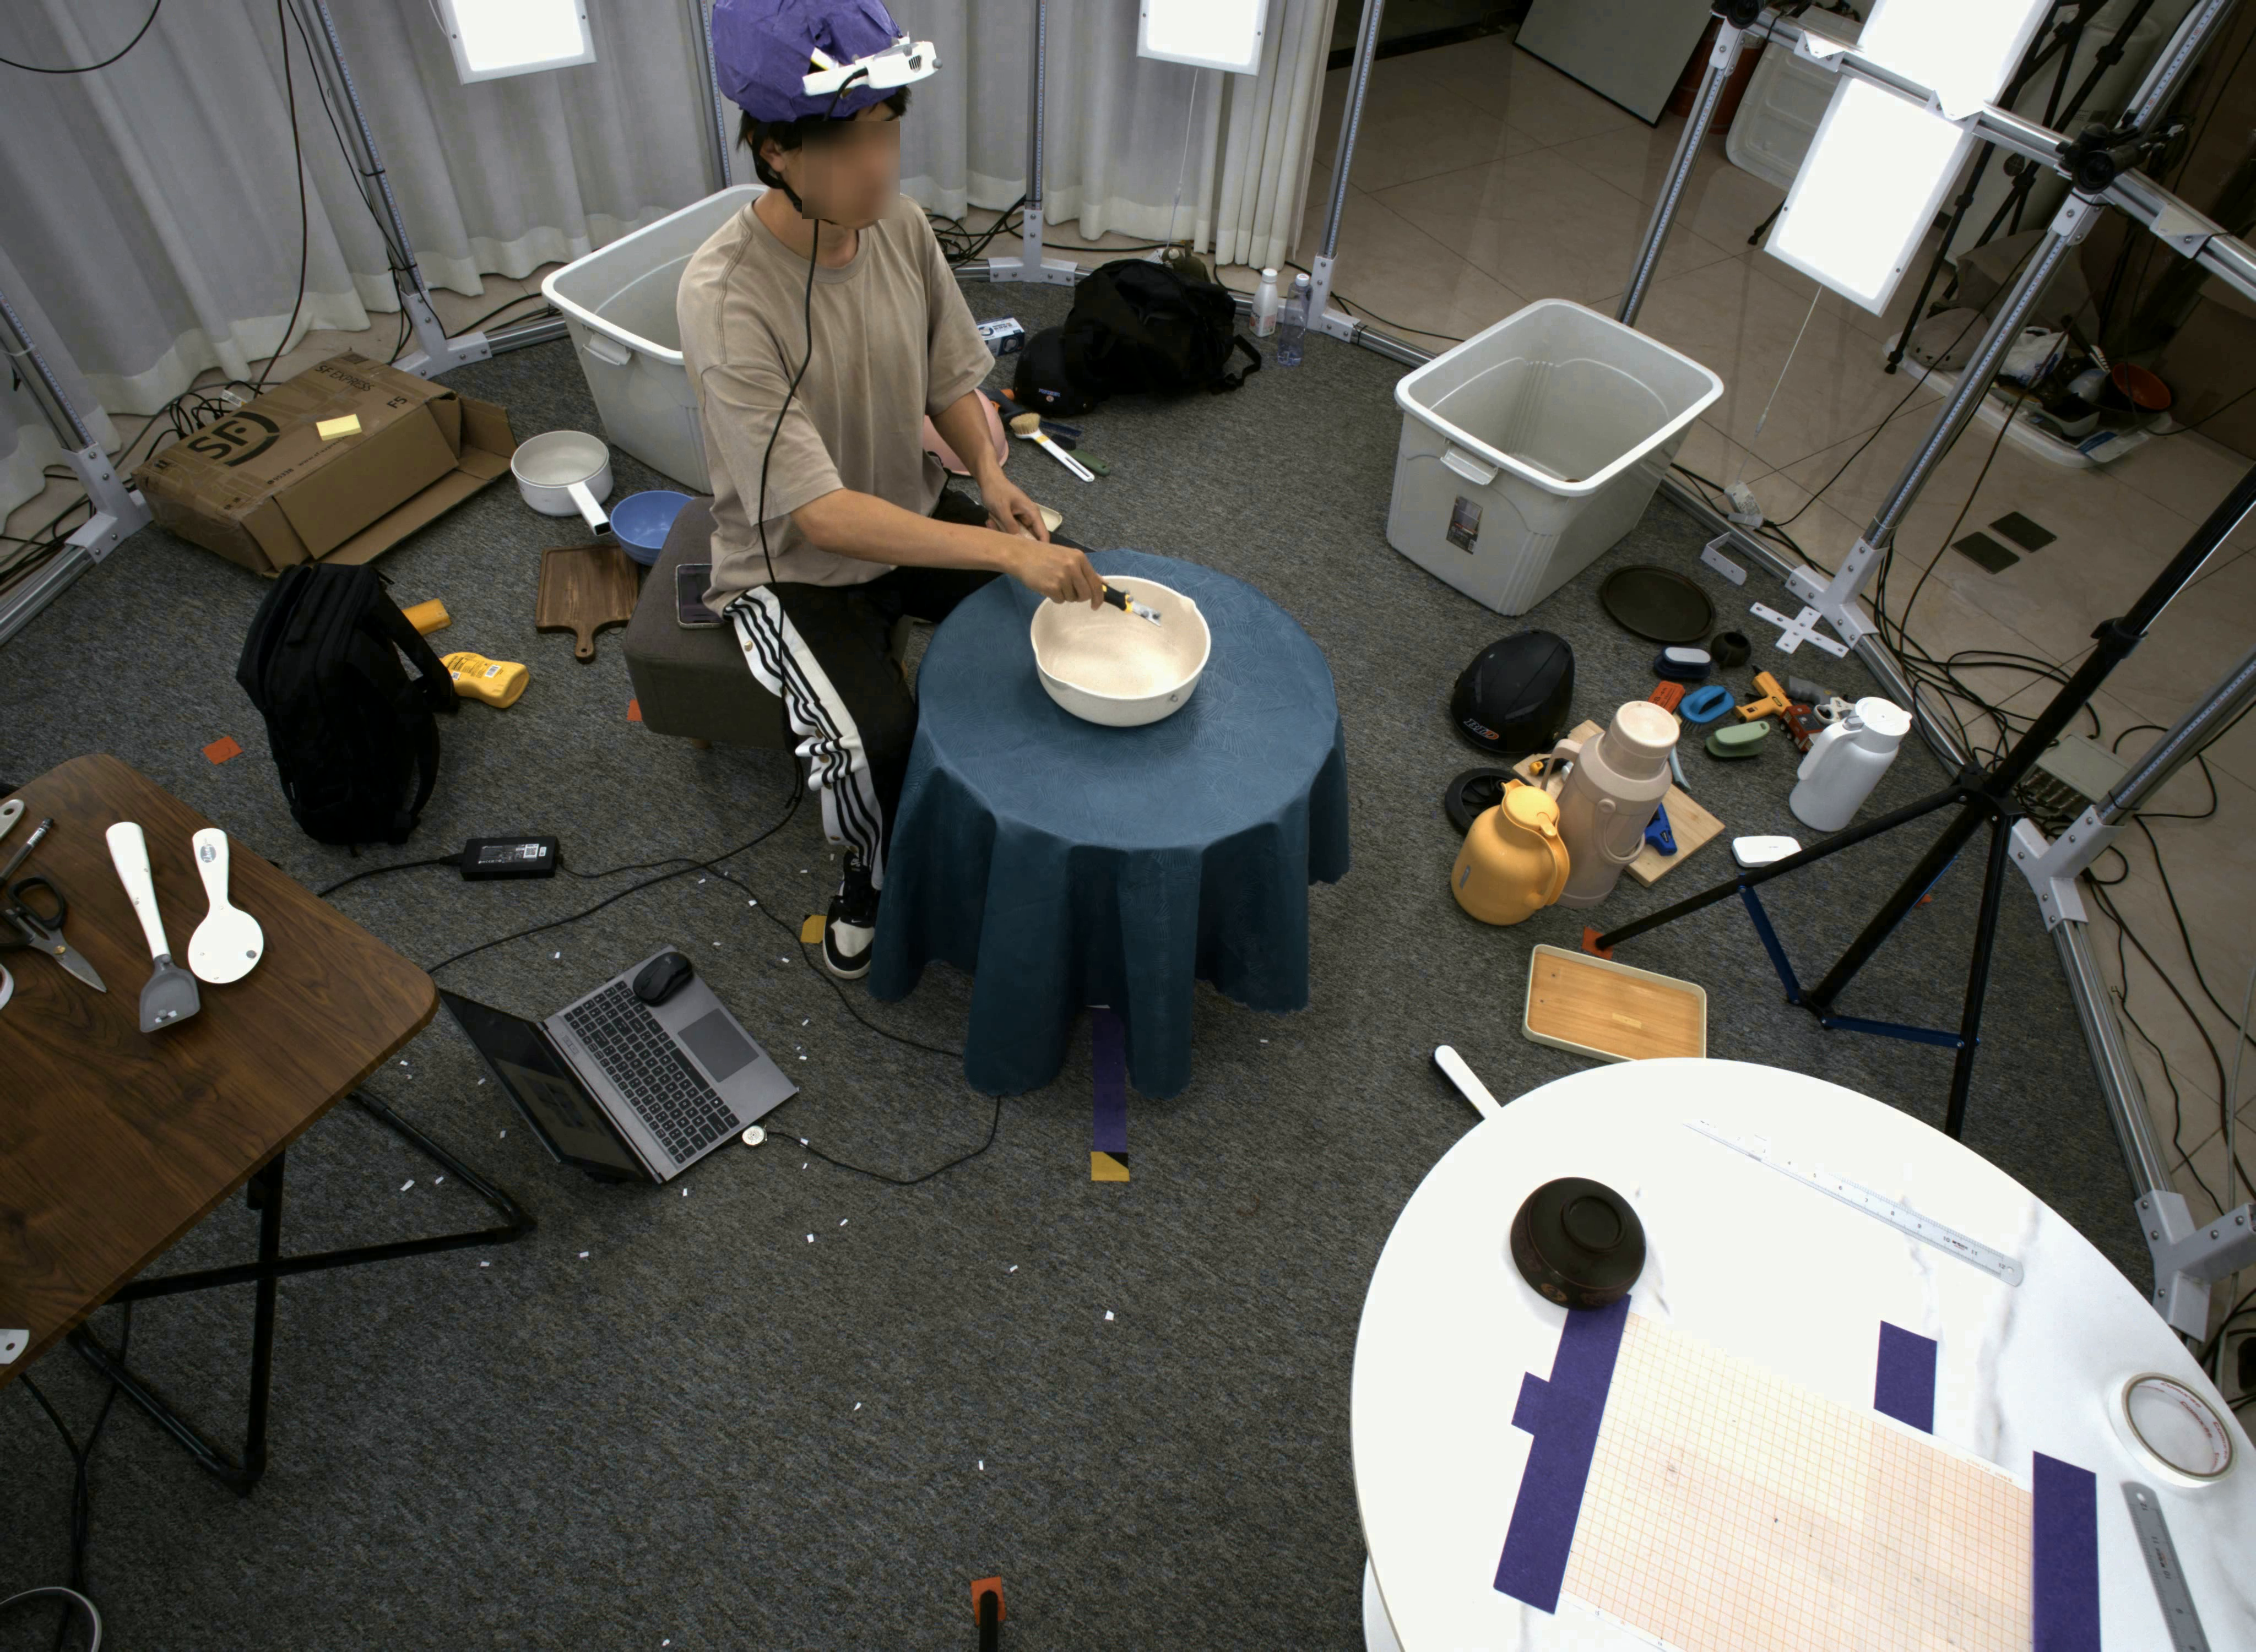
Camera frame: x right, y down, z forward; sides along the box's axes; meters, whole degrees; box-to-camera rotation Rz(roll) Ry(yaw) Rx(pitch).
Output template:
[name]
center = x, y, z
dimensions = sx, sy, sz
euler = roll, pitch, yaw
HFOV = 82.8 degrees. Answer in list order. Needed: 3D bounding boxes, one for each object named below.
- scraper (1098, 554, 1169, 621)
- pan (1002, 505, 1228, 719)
[scraper]
center = 0.009, -0.327, 1.762
dimensions = 0.015, 0.168, 0.039
euler = -31, 60, 22
[pan]
center = -0.044, -0.315, 1.864
dimensions = 0.265, 0.099, 0.442
euler = -30, 57, -25
